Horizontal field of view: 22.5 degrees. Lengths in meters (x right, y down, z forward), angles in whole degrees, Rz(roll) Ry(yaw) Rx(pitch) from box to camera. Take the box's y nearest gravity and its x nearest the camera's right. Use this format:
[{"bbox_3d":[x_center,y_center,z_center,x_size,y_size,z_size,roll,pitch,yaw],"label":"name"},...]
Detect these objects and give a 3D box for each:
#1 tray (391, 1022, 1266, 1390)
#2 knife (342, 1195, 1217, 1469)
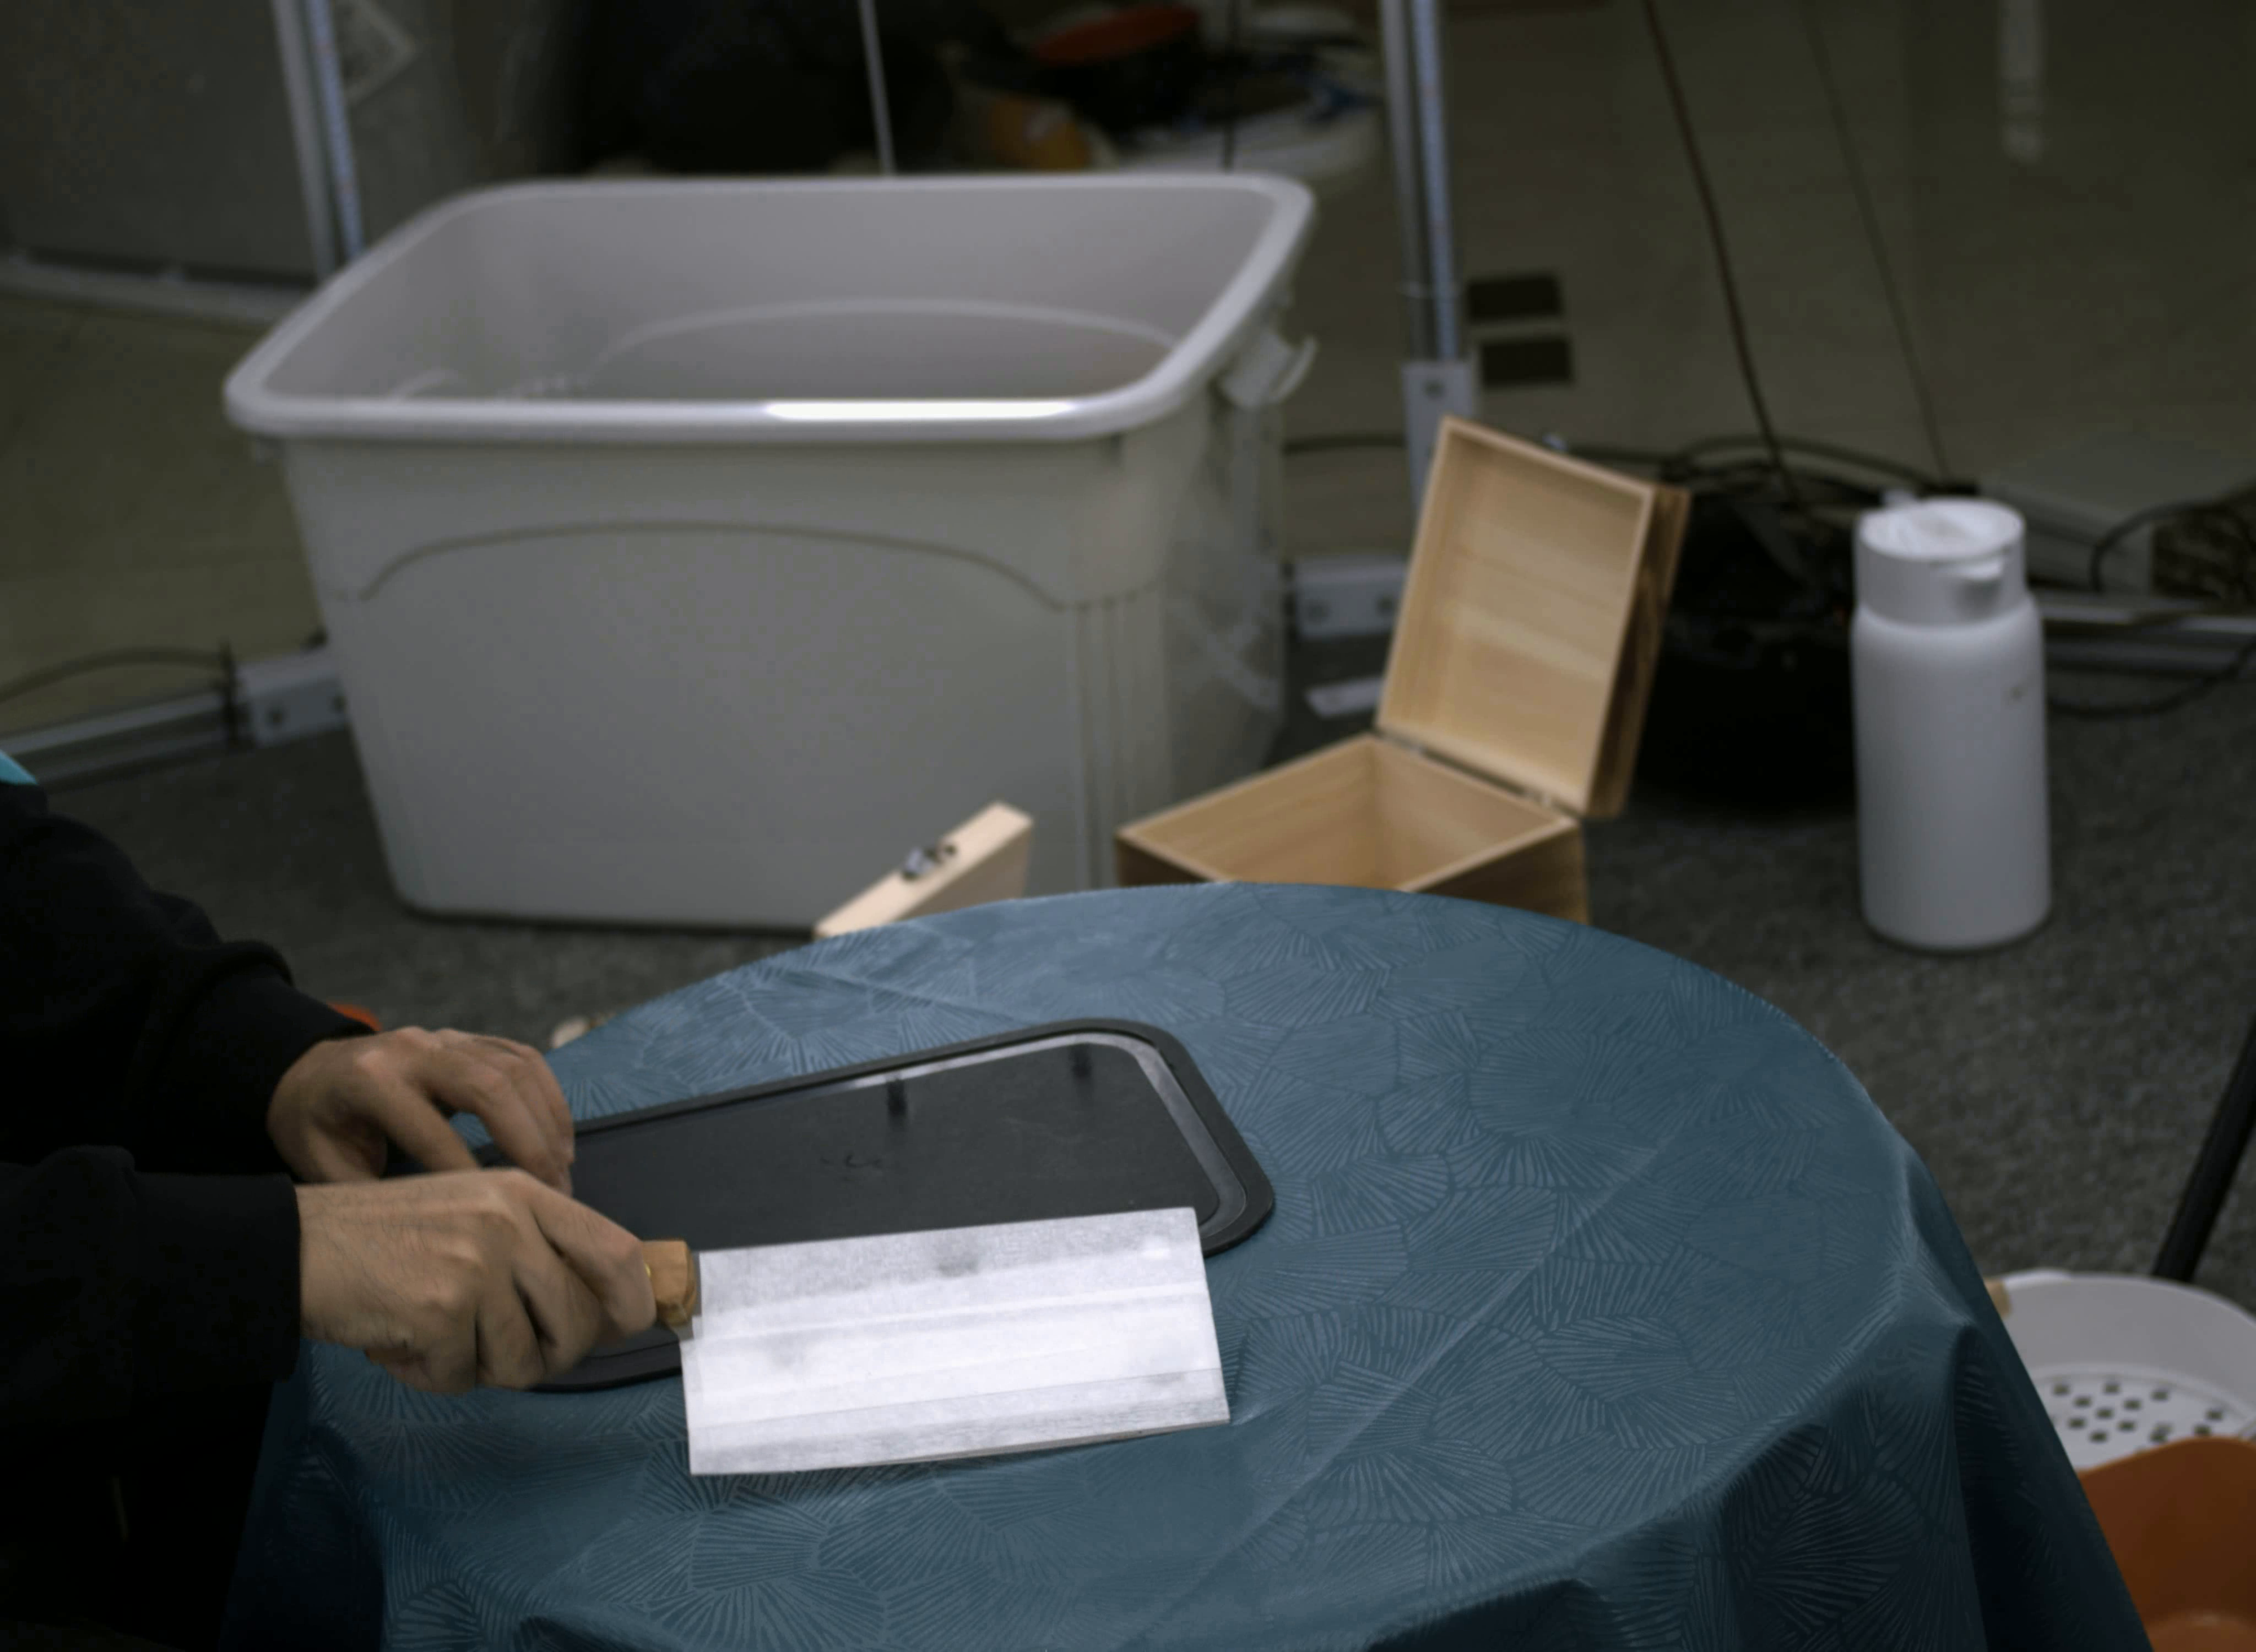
[{"bbox_3d":[-0.119,0.142,2.161,0.324,0.010,0.208,-11,25,-10],"label":"tray"},{"bbox_3d":[-0.122,0.181,1.998,0.305,0.021,0.091,-5,59,-6],"label":"knife"}]
